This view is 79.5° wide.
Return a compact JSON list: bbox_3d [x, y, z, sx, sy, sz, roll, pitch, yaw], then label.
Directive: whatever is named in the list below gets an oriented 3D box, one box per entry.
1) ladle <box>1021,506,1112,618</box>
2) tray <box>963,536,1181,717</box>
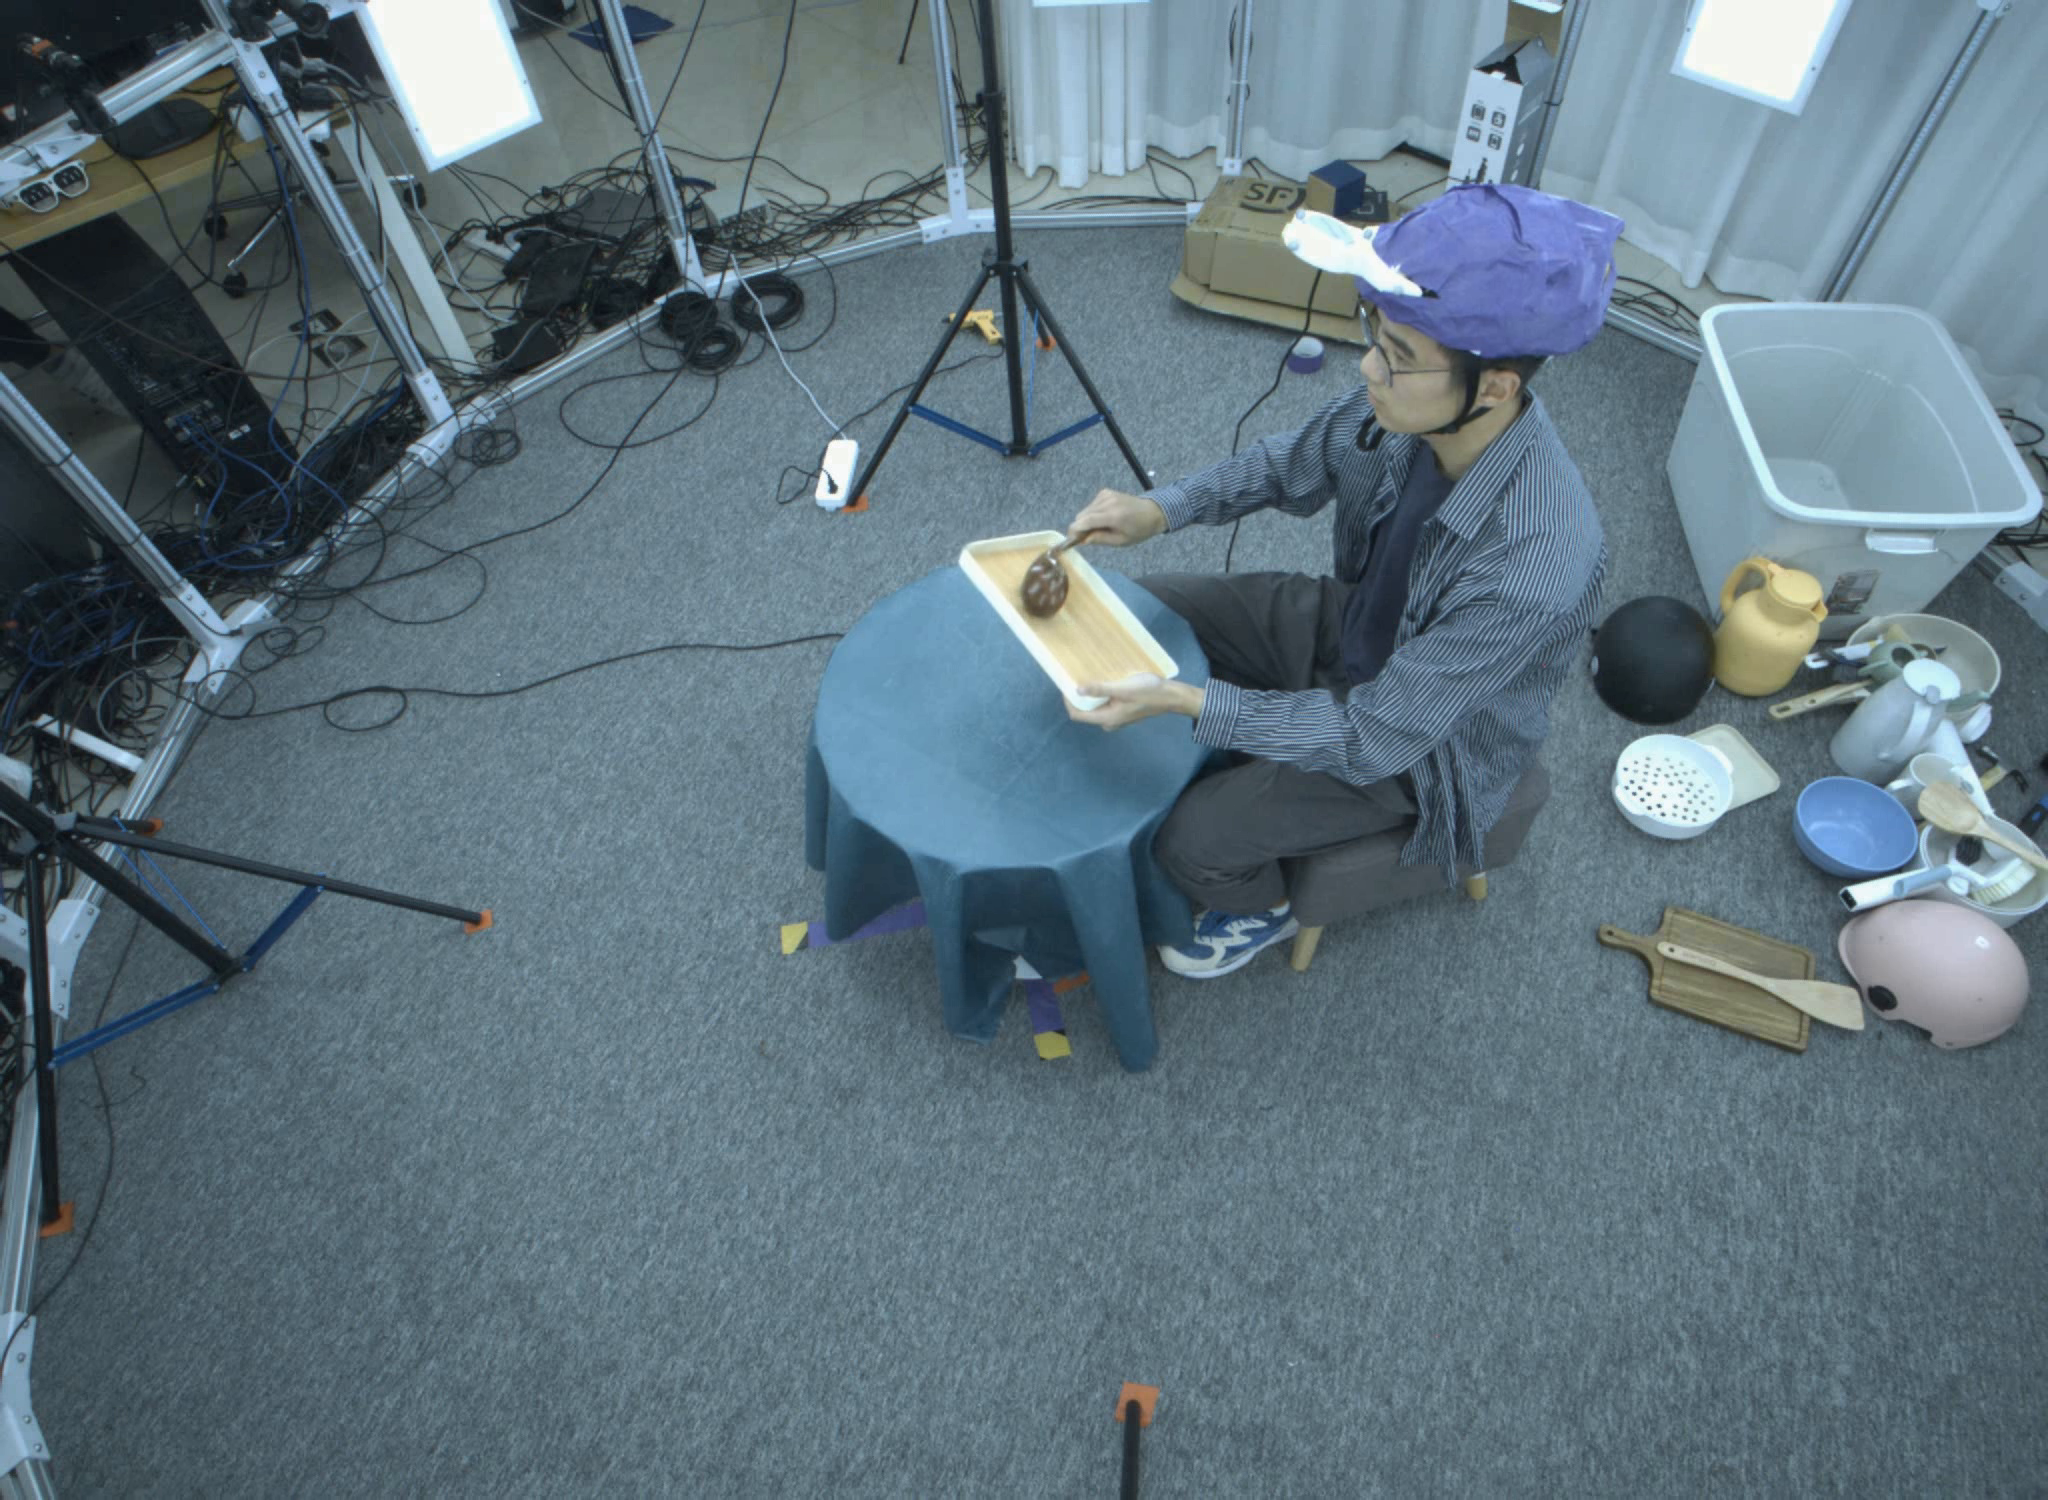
[{"bbox_3d":[0.078,-0.268,1.721,0.077,0.080,0.276,59,40,-12],"label":"ladle"},{"bbox_3d":[0.065,-0.176,1.681,0.195,0.027,0.296,-18,62,-42],"label":"tray"}]
